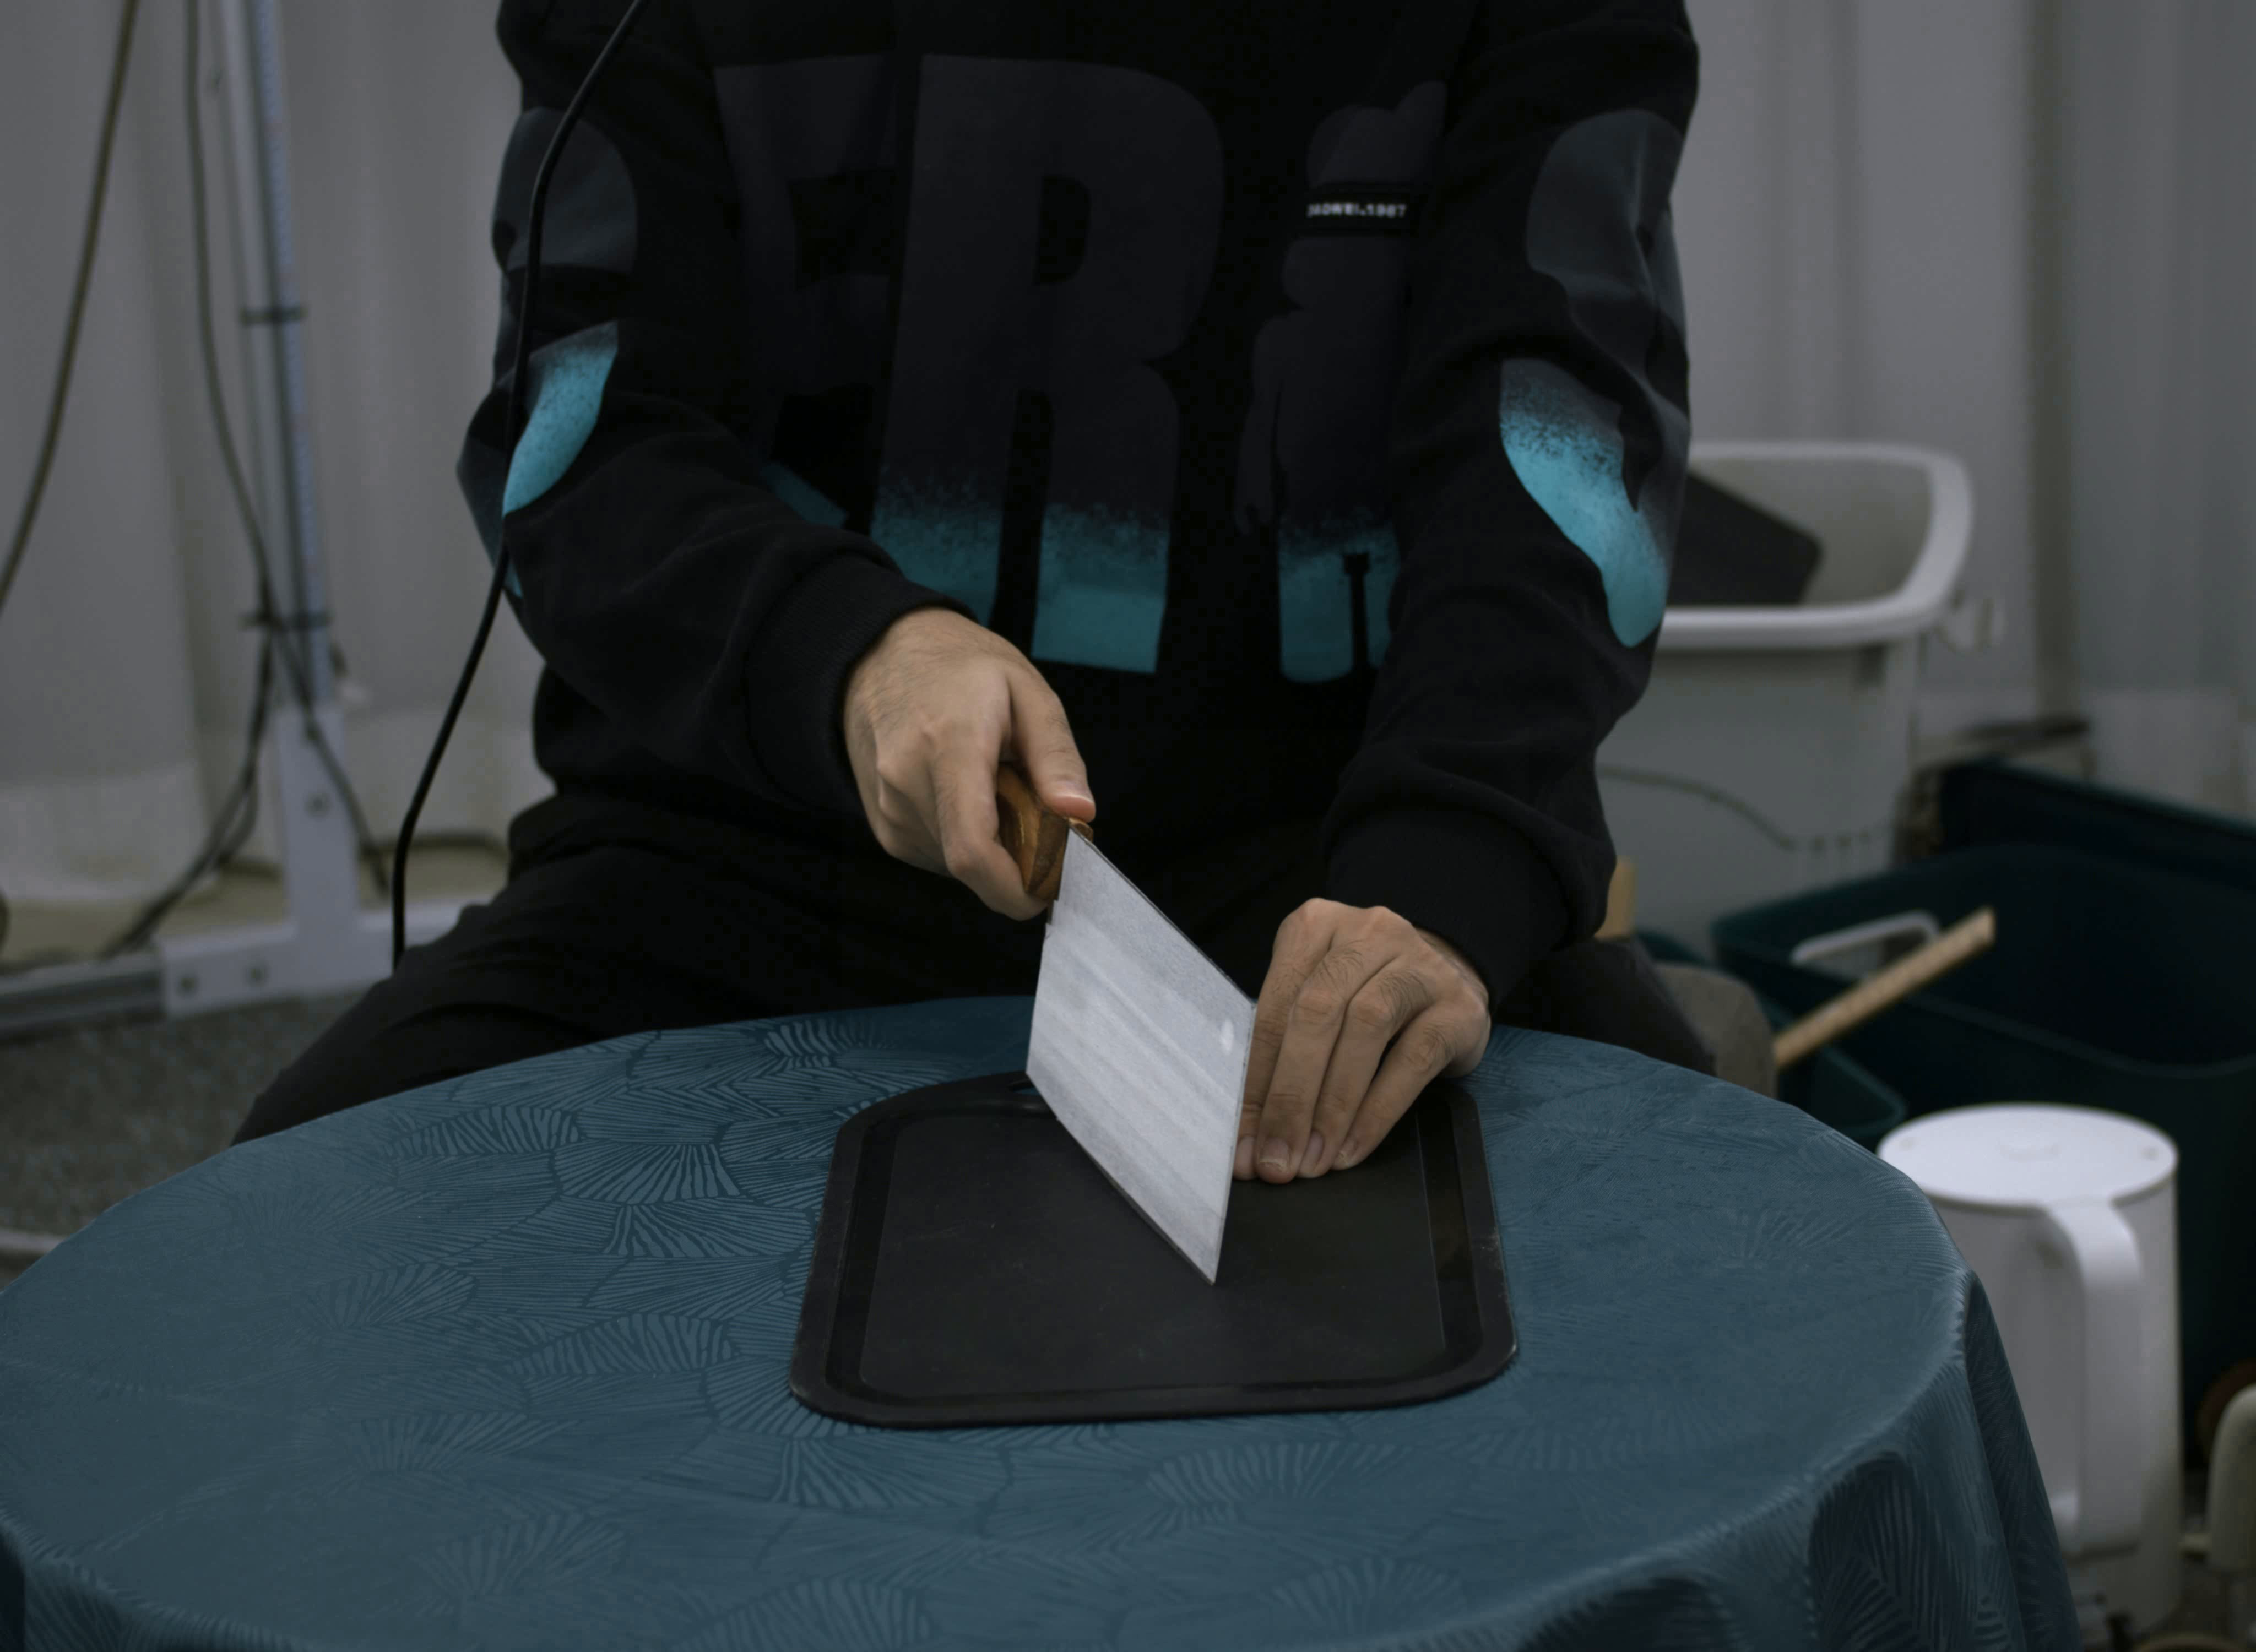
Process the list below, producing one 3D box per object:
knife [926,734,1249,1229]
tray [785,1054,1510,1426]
[{"bbox_3d":[-0.016,0.049,1.746,0.021,0.092,0.308,2,16,-19],"label":"knife"},{"bbox_3d":[0.008,0.120,1.679,0.210,0.010,0.327,-2,15,2],"label":"tray"}]
